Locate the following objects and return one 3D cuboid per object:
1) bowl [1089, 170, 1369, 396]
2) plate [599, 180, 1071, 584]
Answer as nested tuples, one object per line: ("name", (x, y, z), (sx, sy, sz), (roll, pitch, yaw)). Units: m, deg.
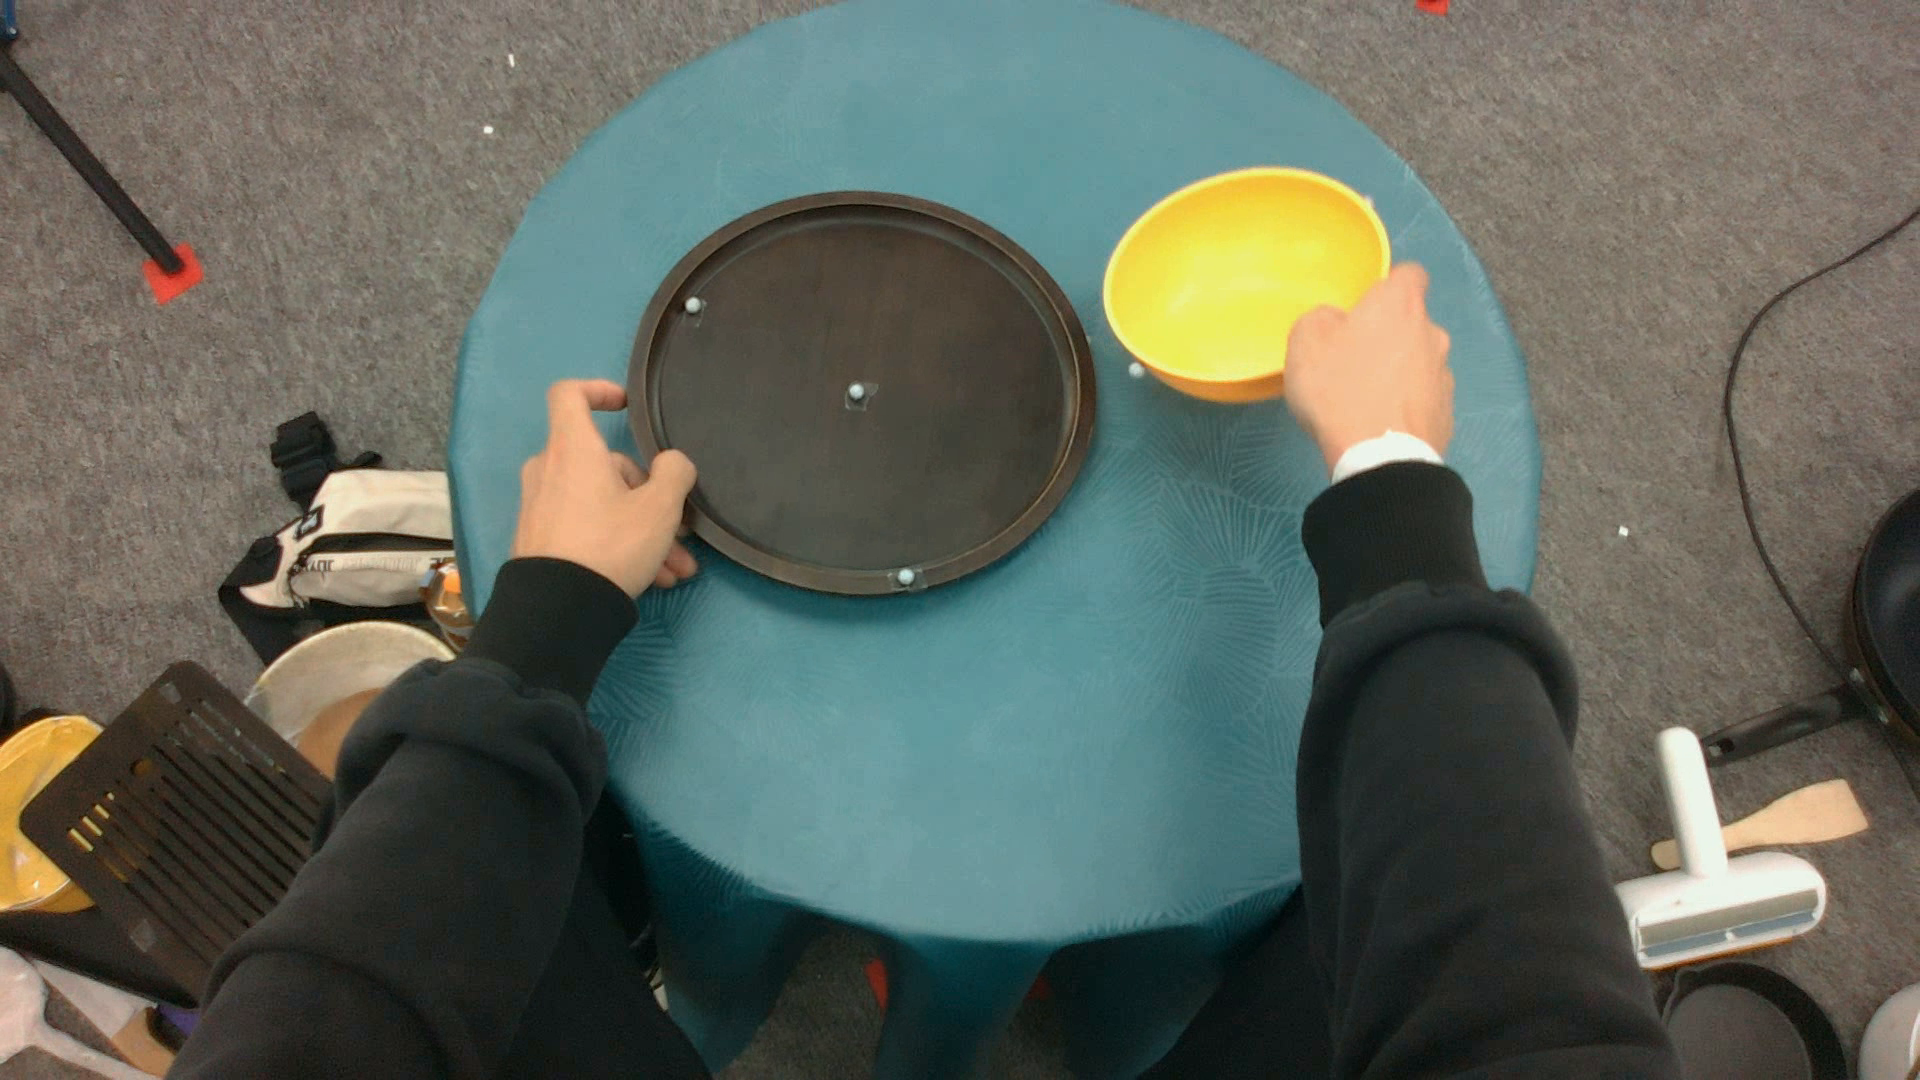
("bowl", (0.146, -0.127, 0.742), (0.145, 0.060, 0.146), (-8, 56, 12))
("plate", (-0.066, -0.091, 0.748), (0.255, 0.029, 0.255), (3, 66, -6))
